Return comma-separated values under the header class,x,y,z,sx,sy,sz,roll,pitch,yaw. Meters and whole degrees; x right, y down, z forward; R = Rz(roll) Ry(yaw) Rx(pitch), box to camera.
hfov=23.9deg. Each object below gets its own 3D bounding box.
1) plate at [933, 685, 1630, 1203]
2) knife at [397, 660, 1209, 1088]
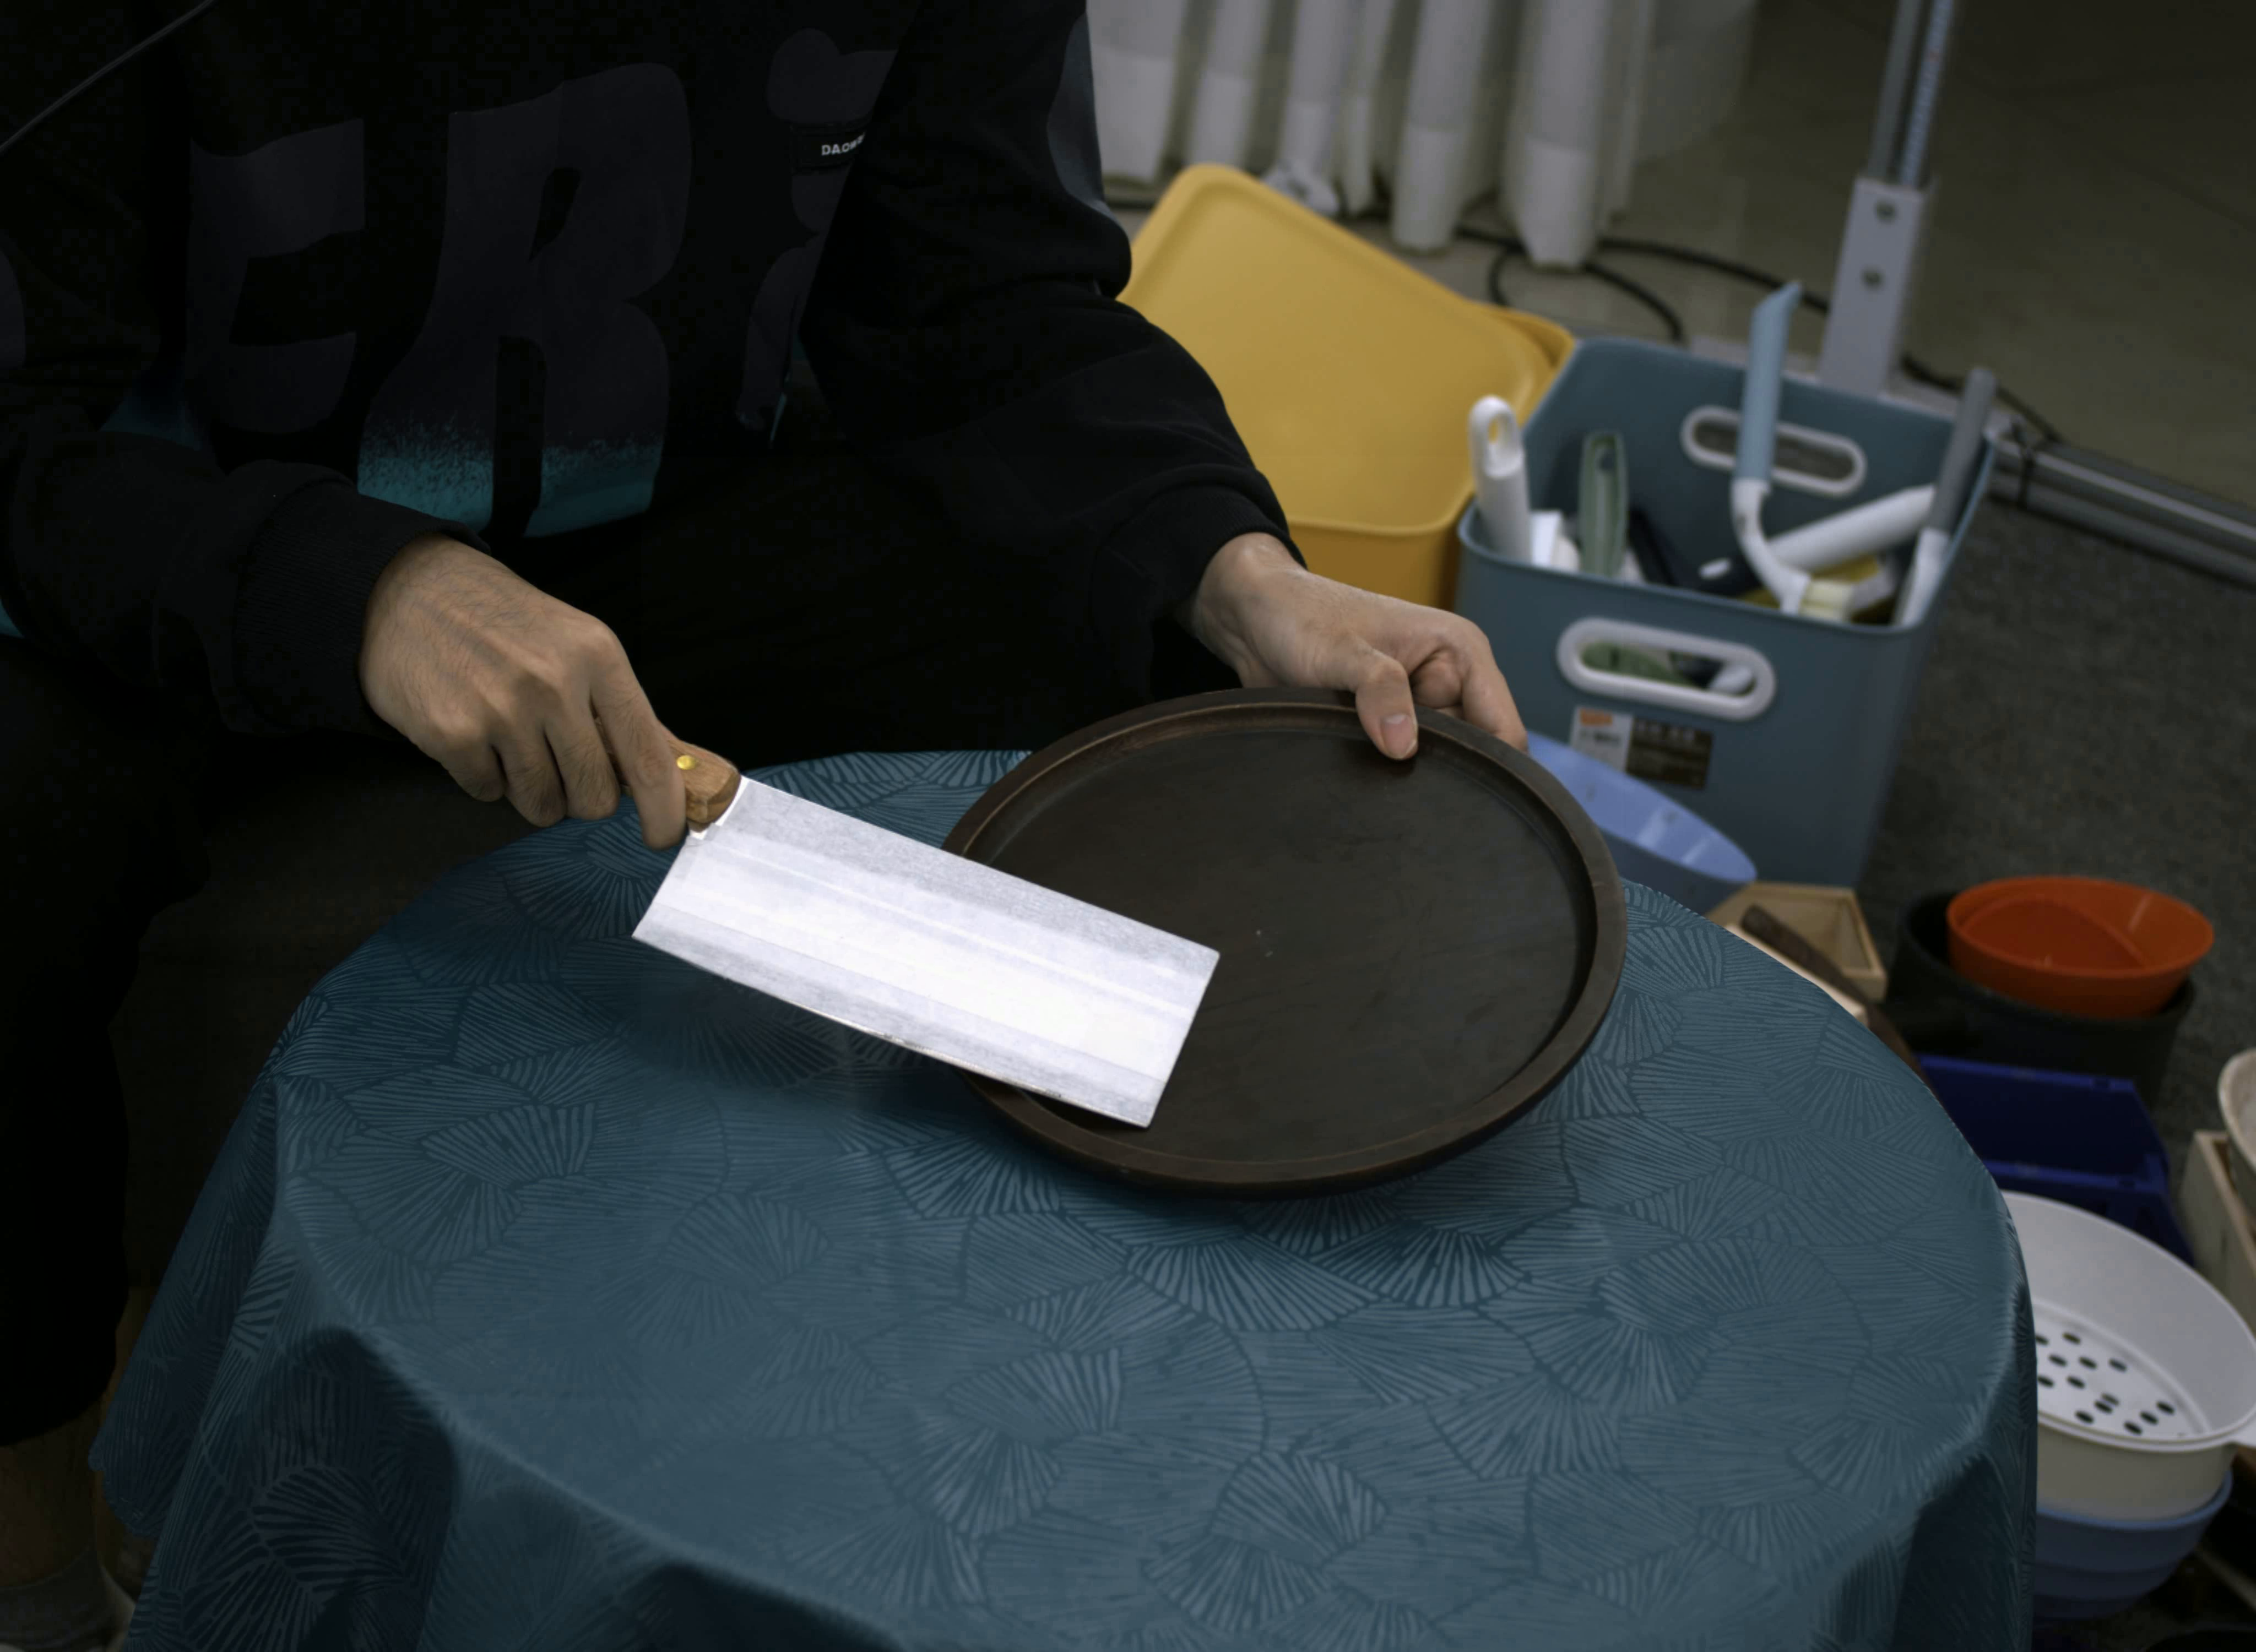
class,x,y,z,sx,sy,sz,roll,pitch,yaw
plate,0.050,0.040,1.876,0.254,0.029,0.257,-2,42,1
knife,-0.122,0.021,1.857,0.305,0.021,0.093,20,46,5
